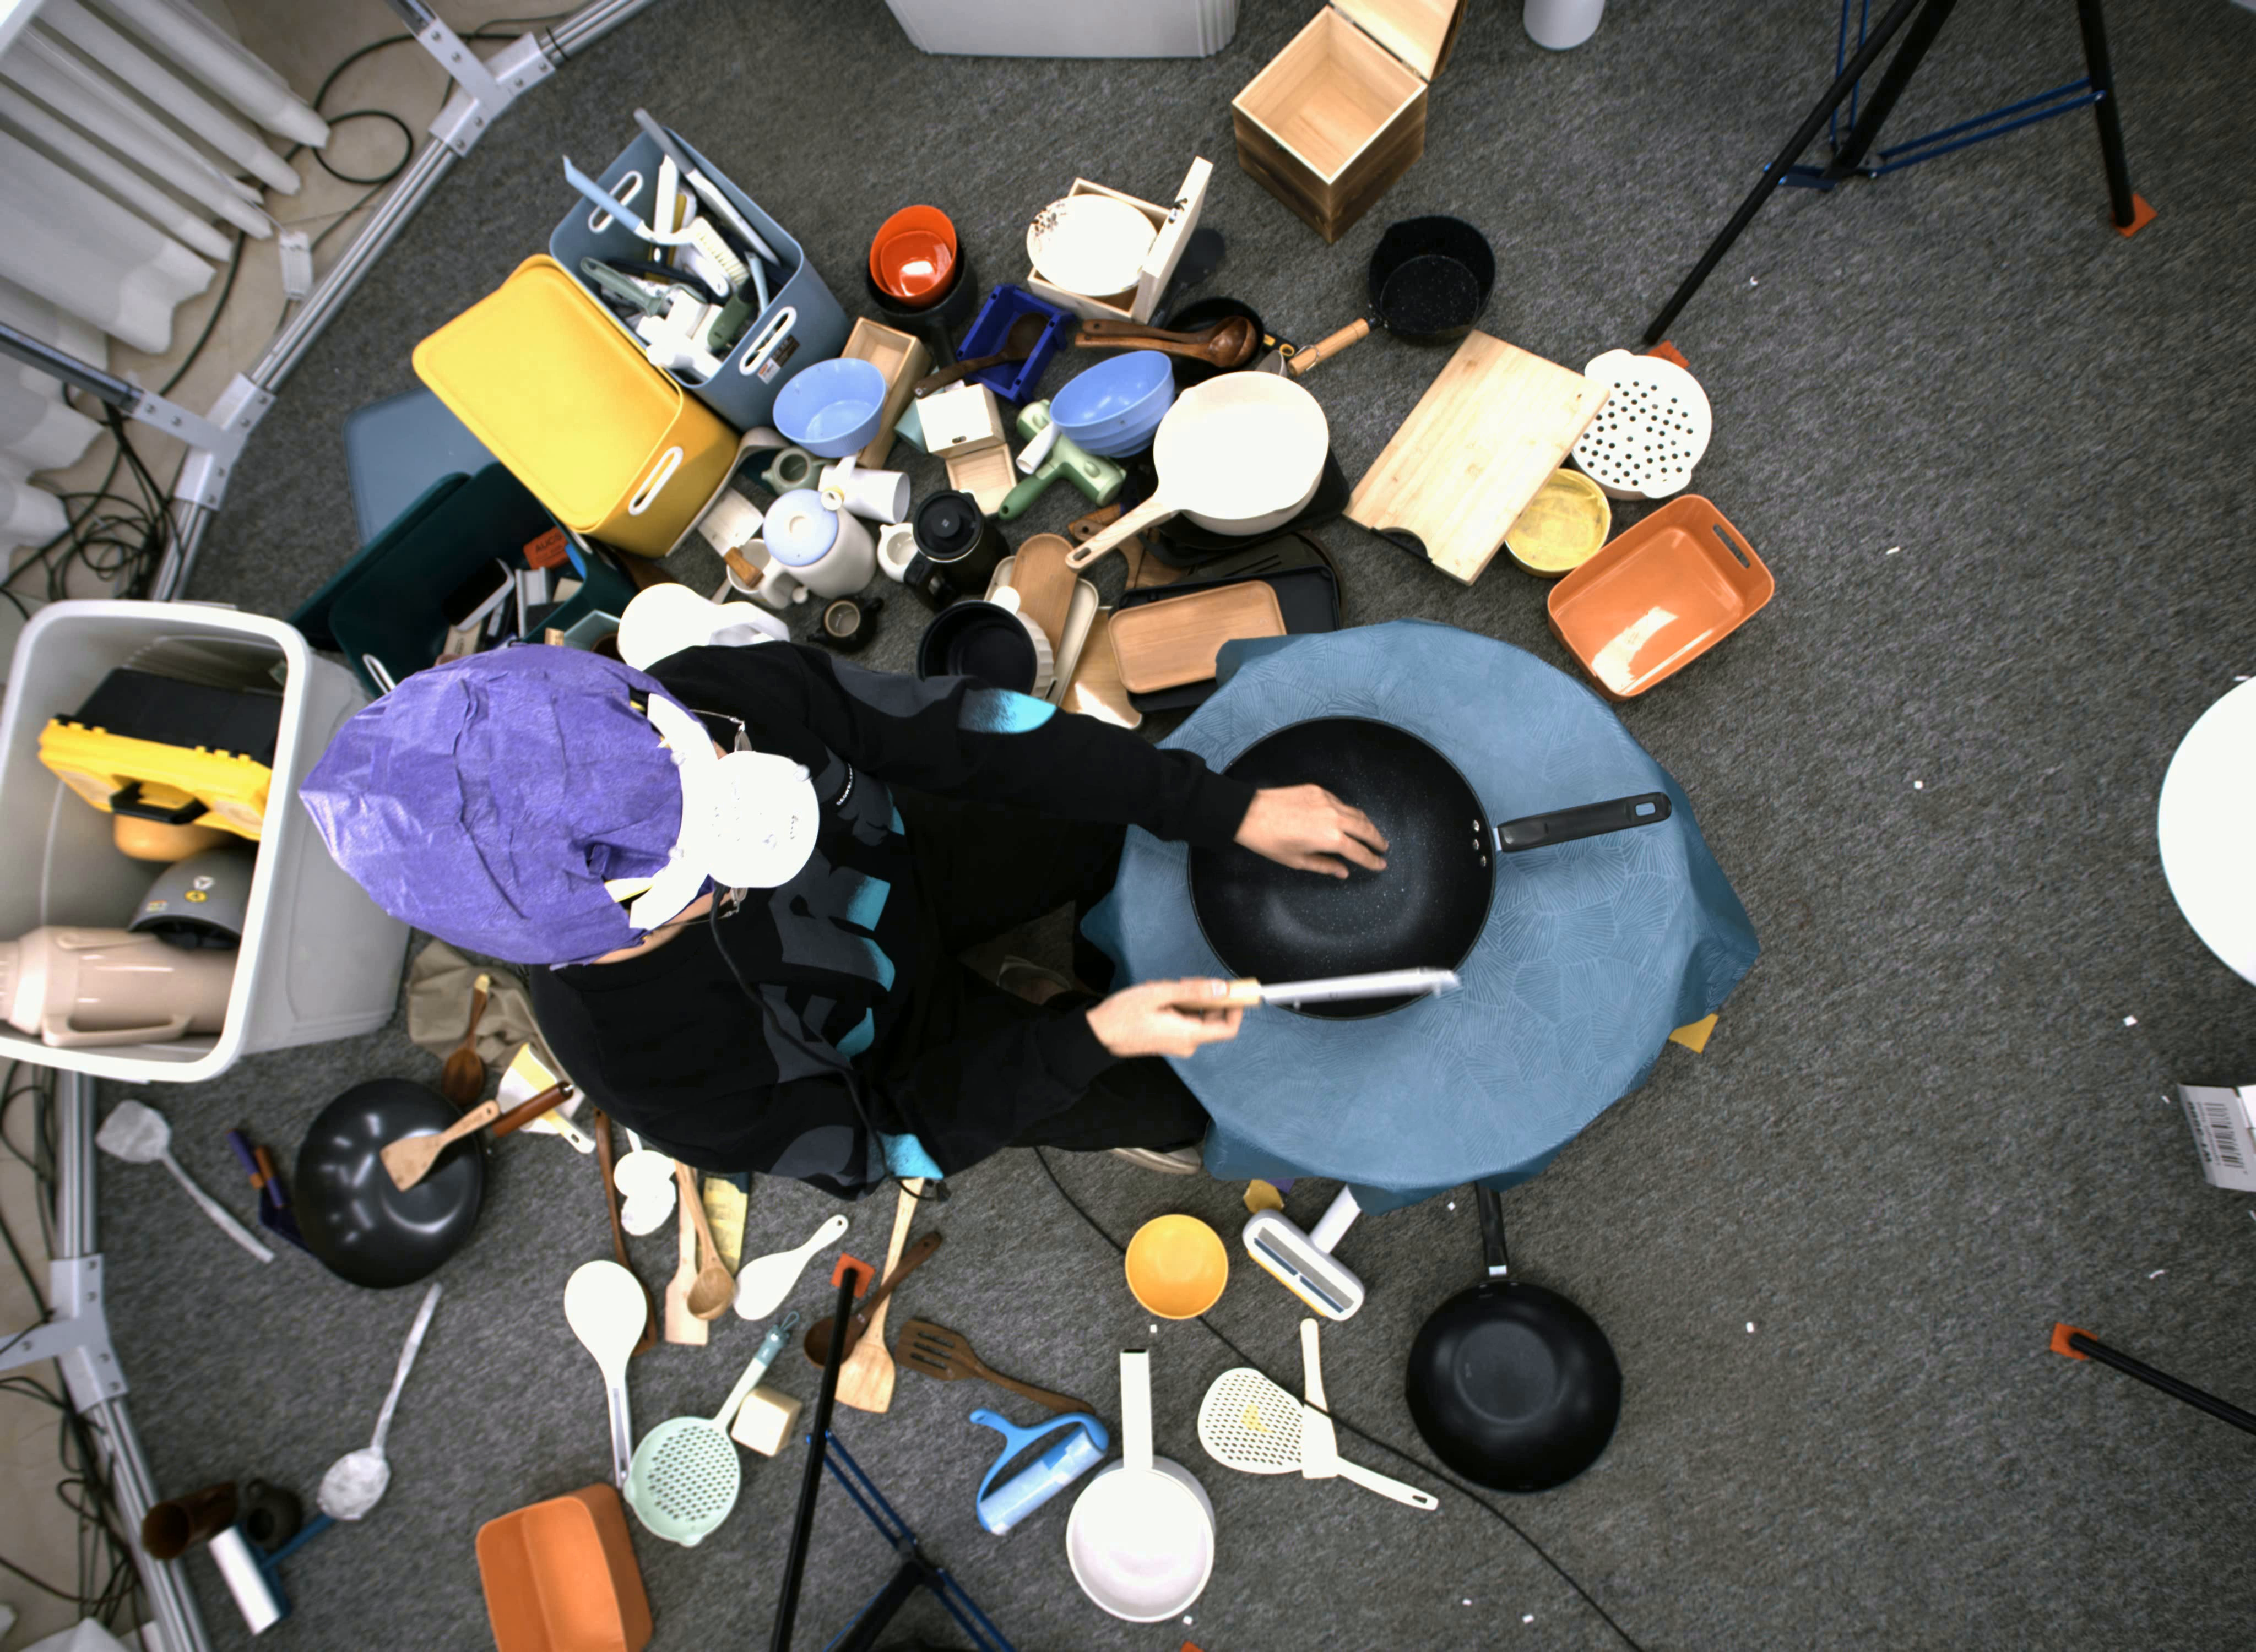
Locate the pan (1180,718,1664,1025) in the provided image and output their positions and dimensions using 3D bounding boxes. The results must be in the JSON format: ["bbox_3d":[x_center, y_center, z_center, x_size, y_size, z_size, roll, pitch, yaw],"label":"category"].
[{"bbox_3d":[0.292,0.030,1.405,0.479,0.111,0.309,-11,86,10],"label":"pan"}]

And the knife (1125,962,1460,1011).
[{"bbox_3d":[0.152,0.148,1.303,0.317,0.114,0.021,-7,77,12],"label":"knife"}]
